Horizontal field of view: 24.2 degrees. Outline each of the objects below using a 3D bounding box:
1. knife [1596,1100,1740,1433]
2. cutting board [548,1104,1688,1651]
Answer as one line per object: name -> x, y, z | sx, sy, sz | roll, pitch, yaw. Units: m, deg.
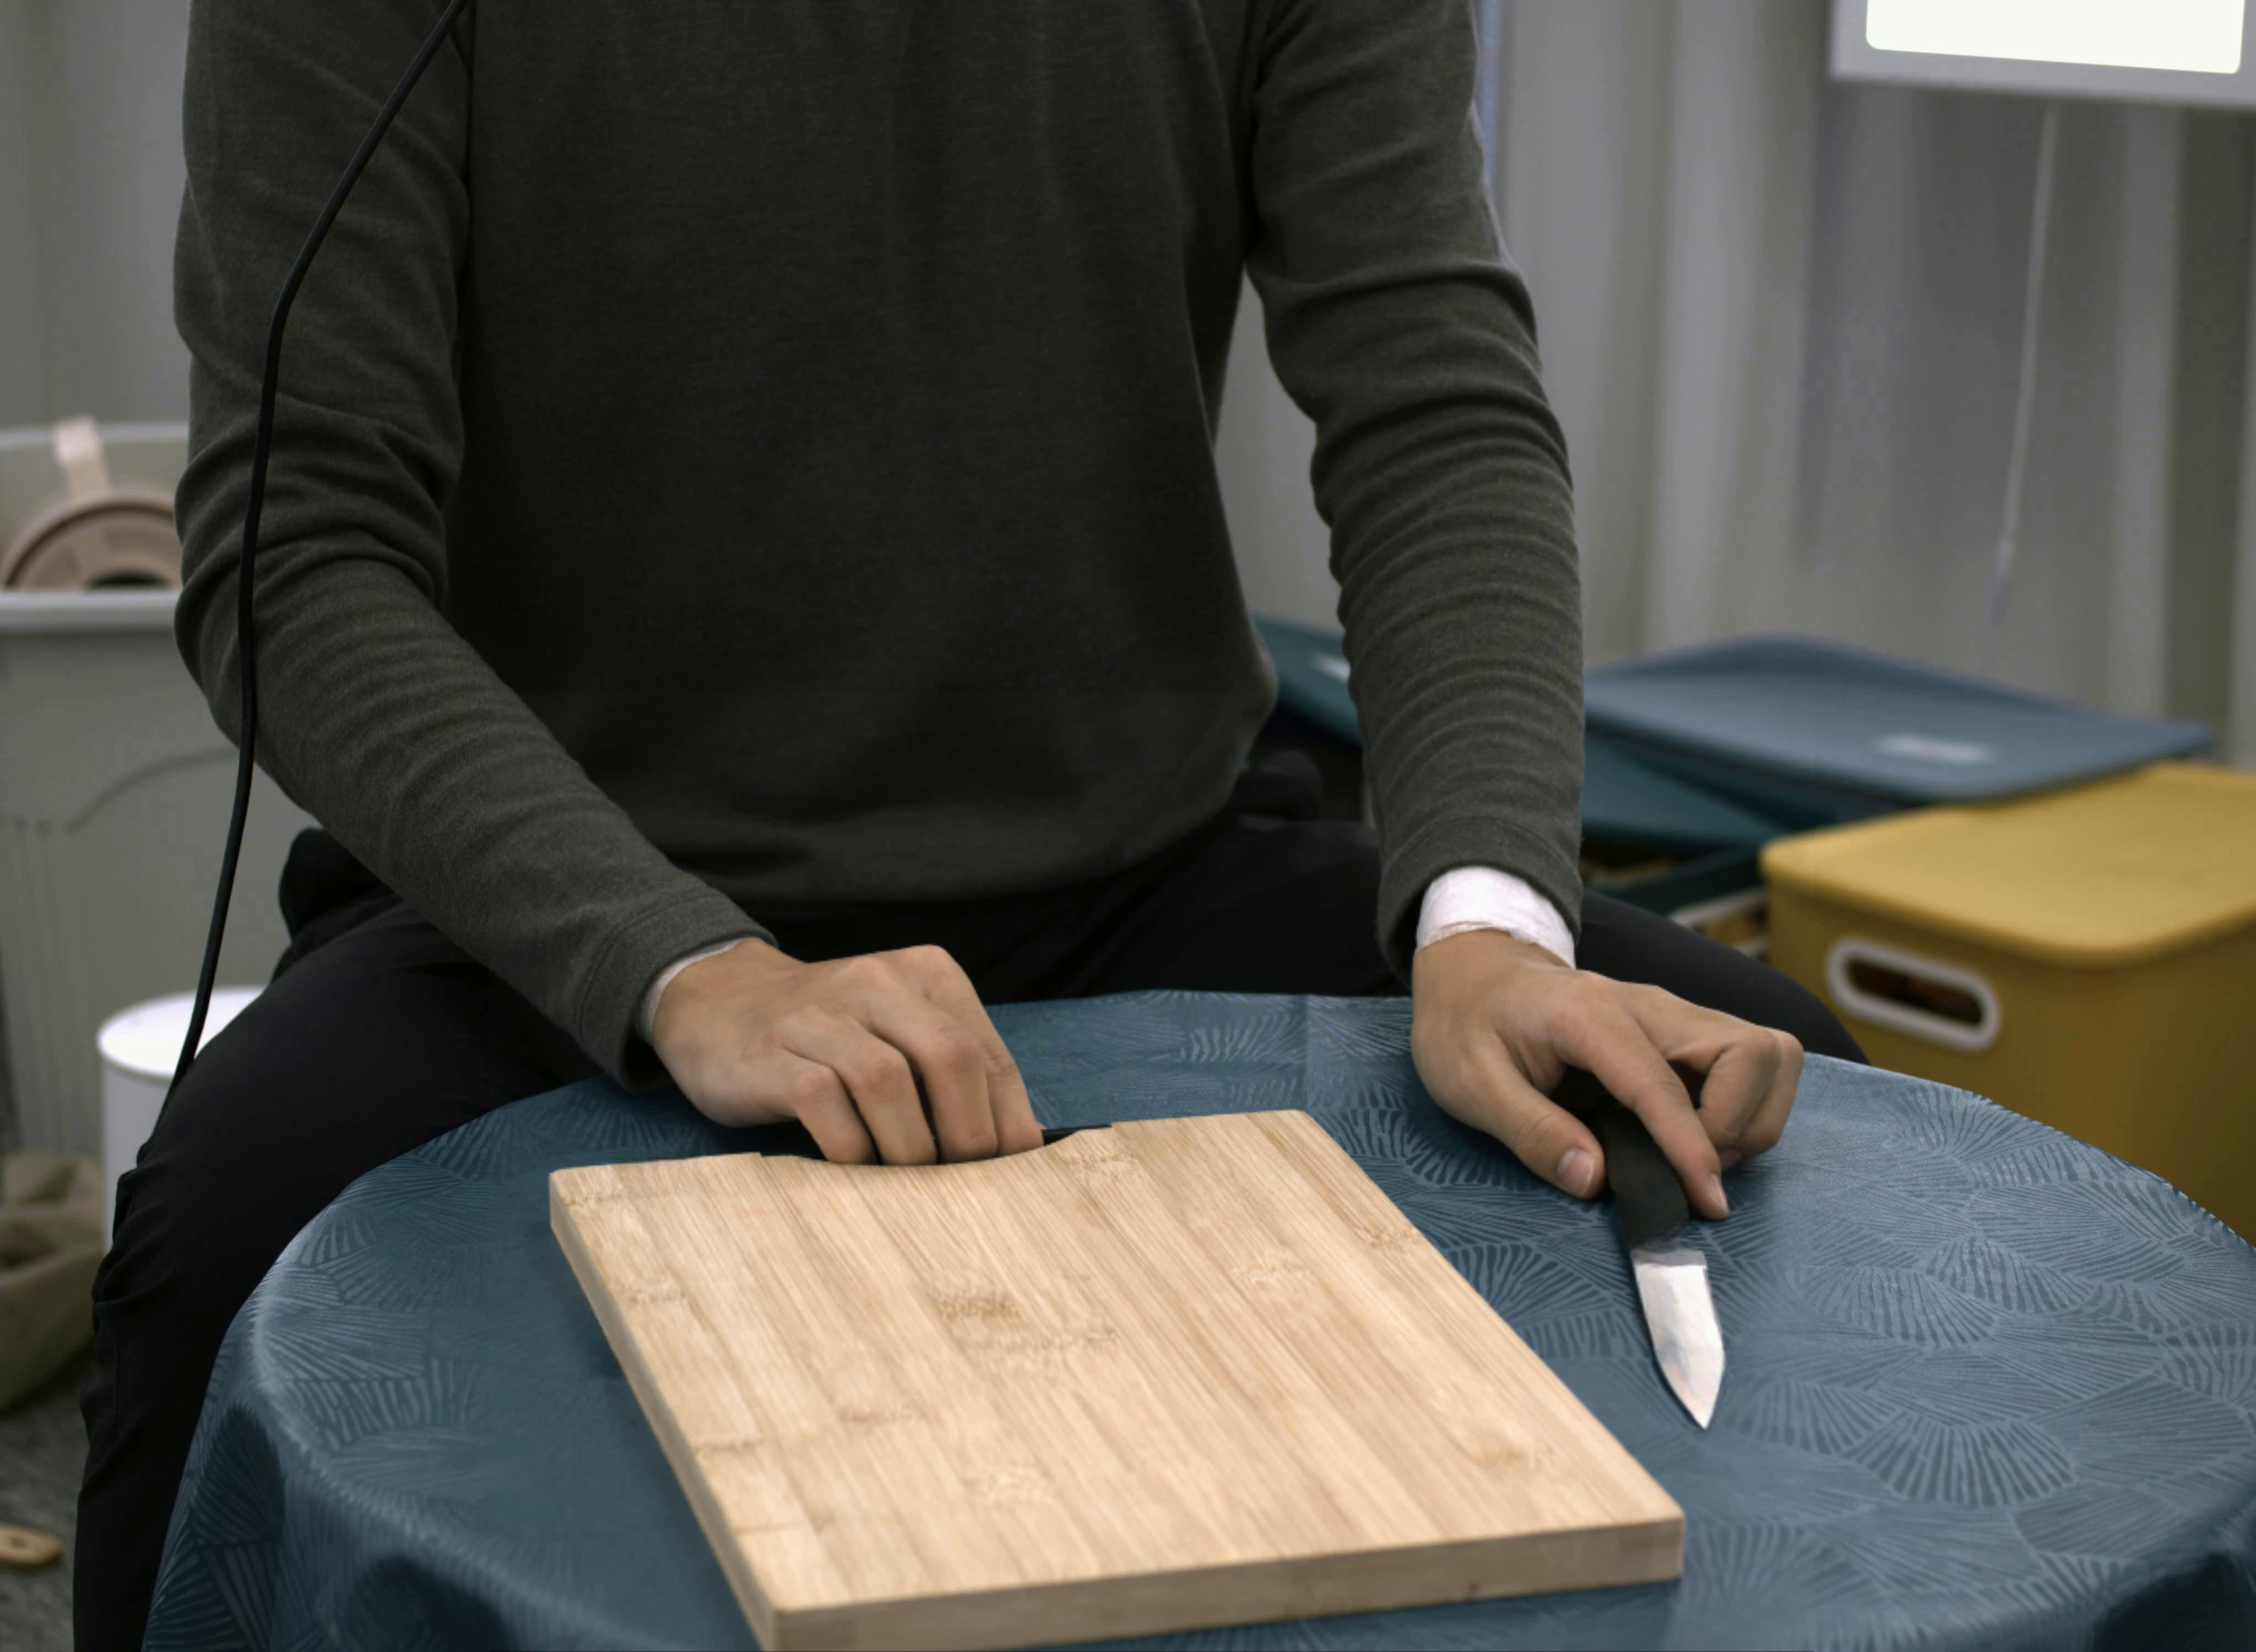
knife -> 0.158, 0.128, 1.551 | 0.024, 0.016, 0.236 | 0, 18, -2
cutting board -> -0.016, 0.147, 1.468 | 0.251, 0.024, 0.345 | -3, 16, -16
